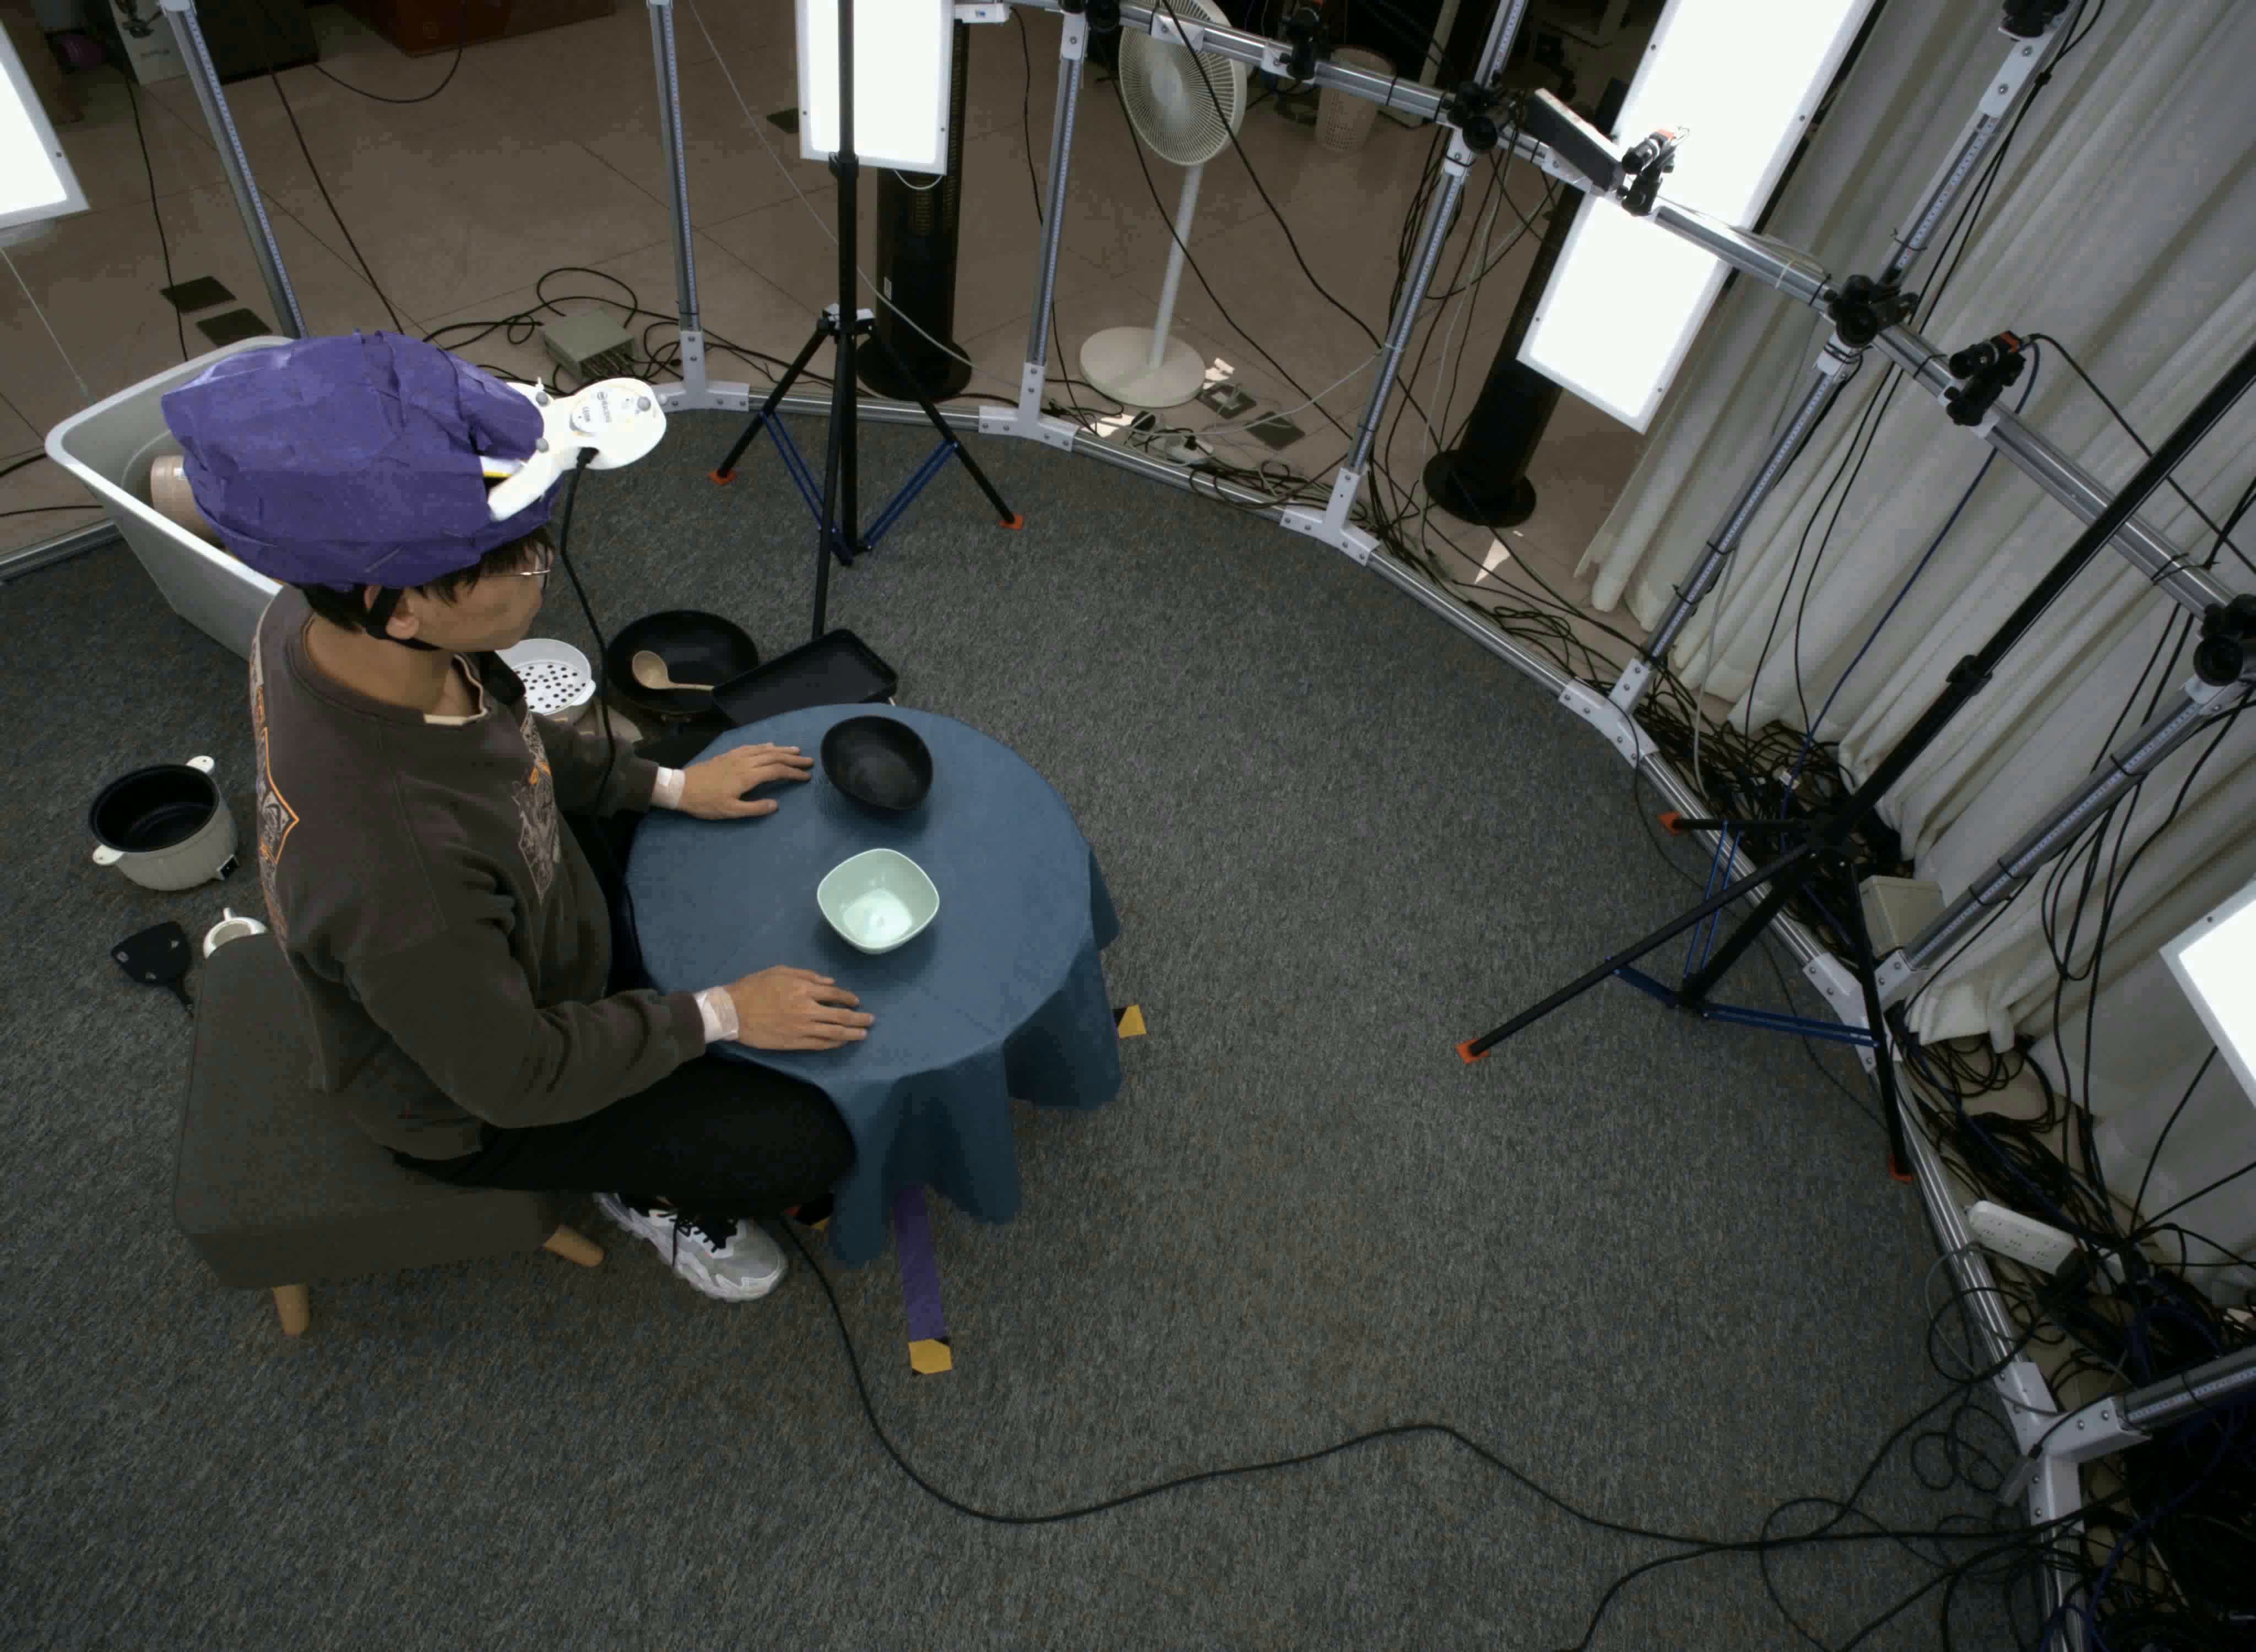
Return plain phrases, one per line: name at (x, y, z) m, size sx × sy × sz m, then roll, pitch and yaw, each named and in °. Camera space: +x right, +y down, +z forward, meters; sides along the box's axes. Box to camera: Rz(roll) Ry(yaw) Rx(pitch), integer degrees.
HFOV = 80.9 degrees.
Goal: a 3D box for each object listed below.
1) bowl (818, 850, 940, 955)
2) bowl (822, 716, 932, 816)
bowl at (-0.316, 0.106, 1.649) m, size 0.151 × 0.060 × 0.149 m, roll 9°, pitch 51°, yaw -10°
bowl at (-0.340, -0.072, 1.772) m, size 0.167 × 0.068 × 0.137 m, roll 42°, pitch 57°, yaw 17°
